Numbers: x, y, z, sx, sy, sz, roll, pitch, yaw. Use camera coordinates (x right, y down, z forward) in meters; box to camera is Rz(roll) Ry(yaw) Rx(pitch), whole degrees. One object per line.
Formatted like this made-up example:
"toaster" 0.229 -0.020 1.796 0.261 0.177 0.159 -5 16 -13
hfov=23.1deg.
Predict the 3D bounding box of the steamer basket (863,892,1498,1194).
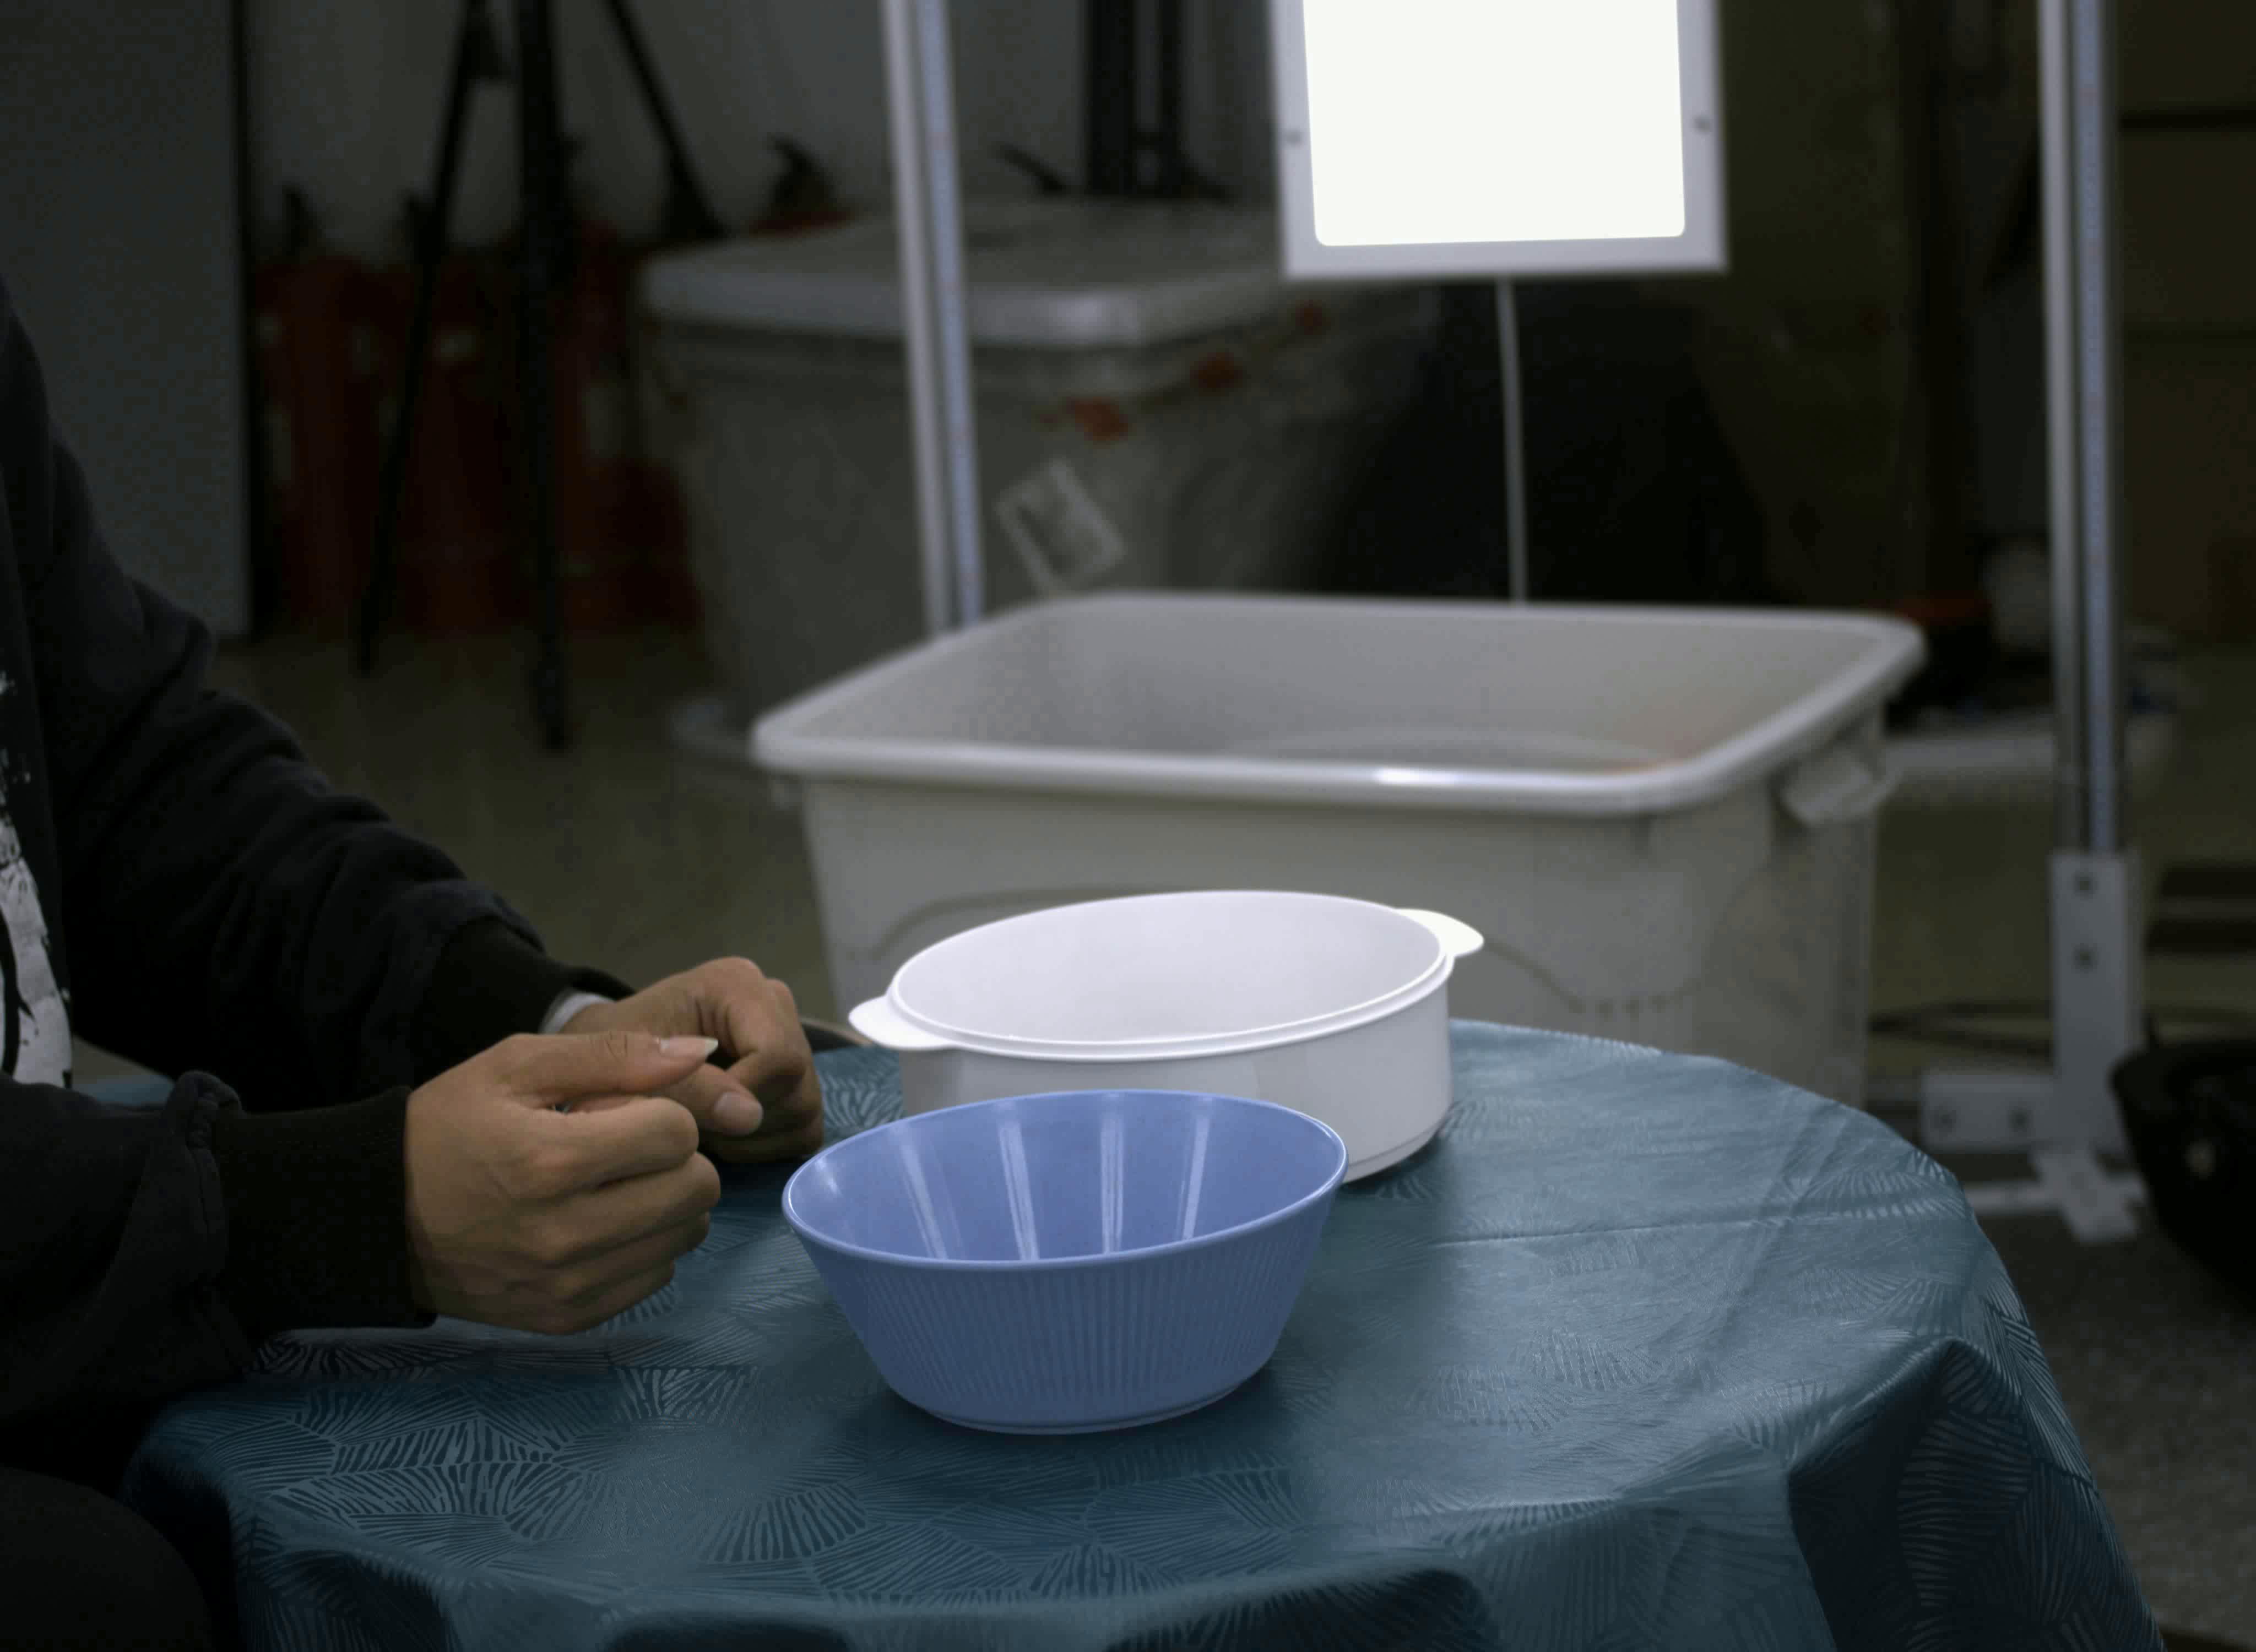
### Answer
"steamer basket" 0.021 0.079 1.940 0.226 0.069 0.204 -7 14 -19

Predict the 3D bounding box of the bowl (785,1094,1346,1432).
"bowl" -0.017 0.138 1.708 0.175 0.070 0.176 -5 13 0
